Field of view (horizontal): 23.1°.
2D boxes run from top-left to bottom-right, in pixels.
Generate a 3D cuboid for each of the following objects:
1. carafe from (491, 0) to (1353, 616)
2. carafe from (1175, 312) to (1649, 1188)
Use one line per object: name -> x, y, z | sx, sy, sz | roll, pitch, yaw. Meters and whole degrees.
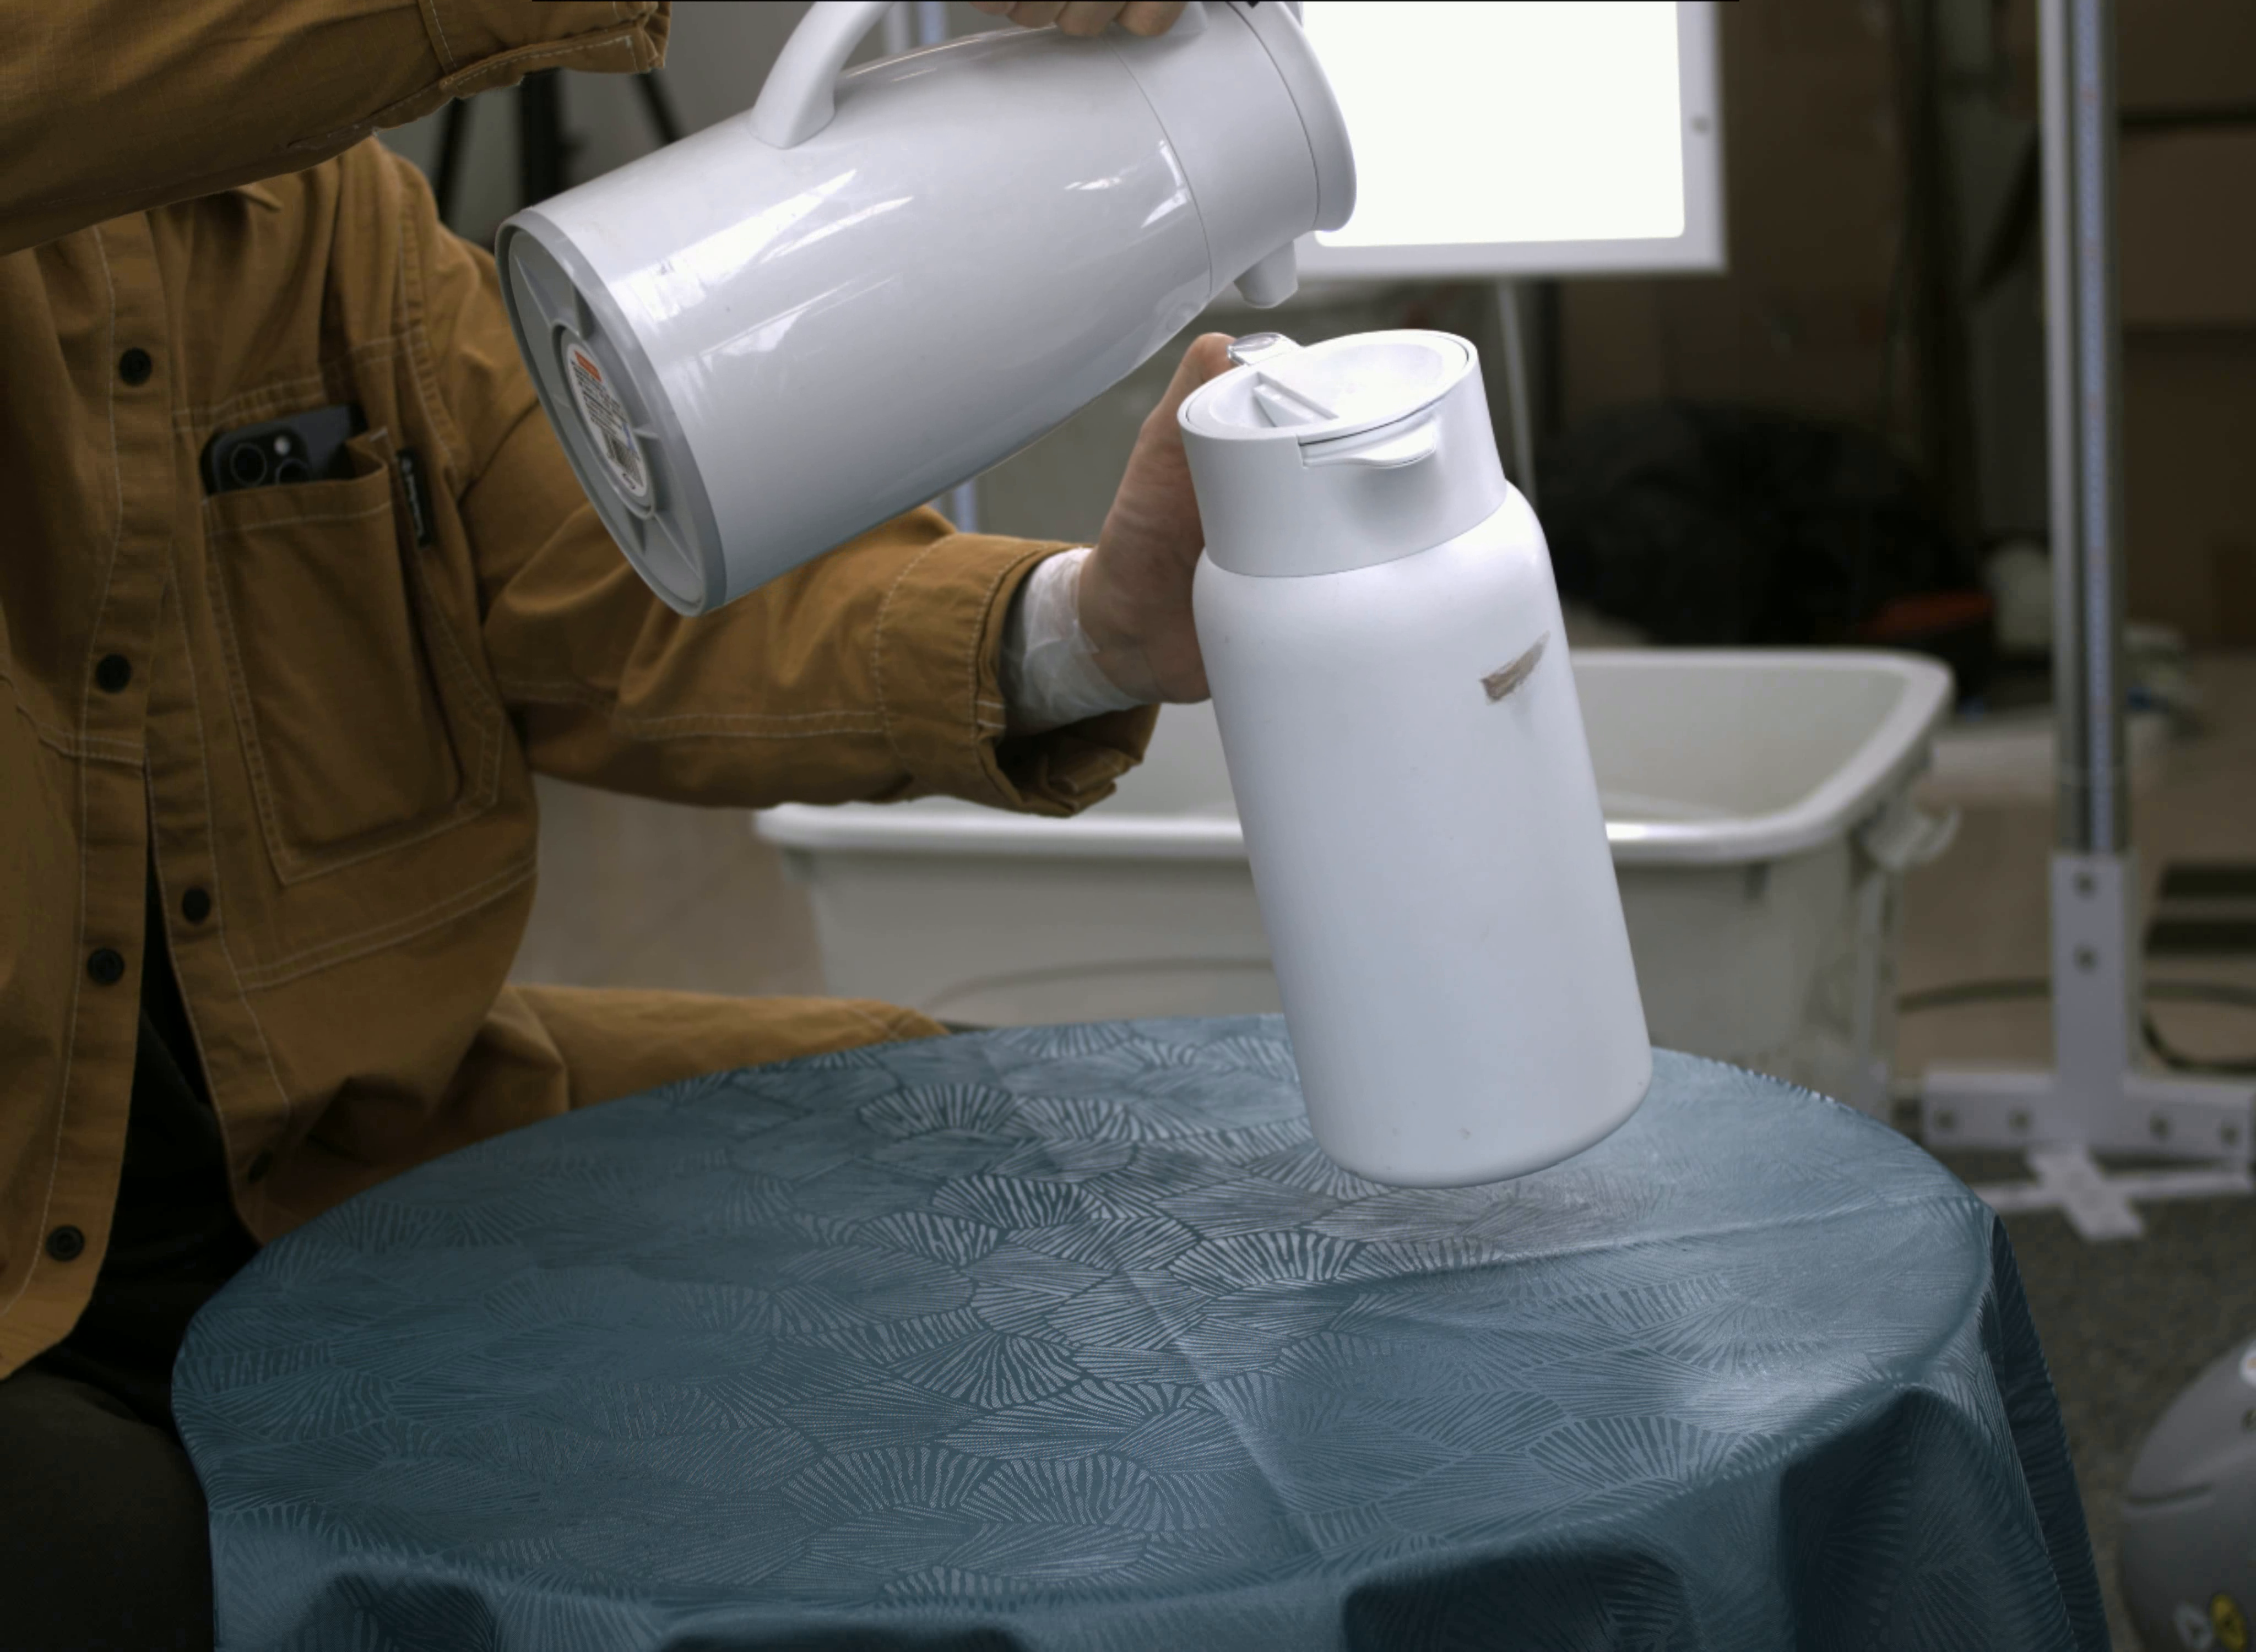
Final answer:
carafe -> -0.057, -0.191, 1.660 | 0.245, 0.167, 0.134 | -28, 37, -13
carafe -> 0.084, -0.028, 1.805 | 0.122, 0.269, 0.175 | -21, 22, -13
